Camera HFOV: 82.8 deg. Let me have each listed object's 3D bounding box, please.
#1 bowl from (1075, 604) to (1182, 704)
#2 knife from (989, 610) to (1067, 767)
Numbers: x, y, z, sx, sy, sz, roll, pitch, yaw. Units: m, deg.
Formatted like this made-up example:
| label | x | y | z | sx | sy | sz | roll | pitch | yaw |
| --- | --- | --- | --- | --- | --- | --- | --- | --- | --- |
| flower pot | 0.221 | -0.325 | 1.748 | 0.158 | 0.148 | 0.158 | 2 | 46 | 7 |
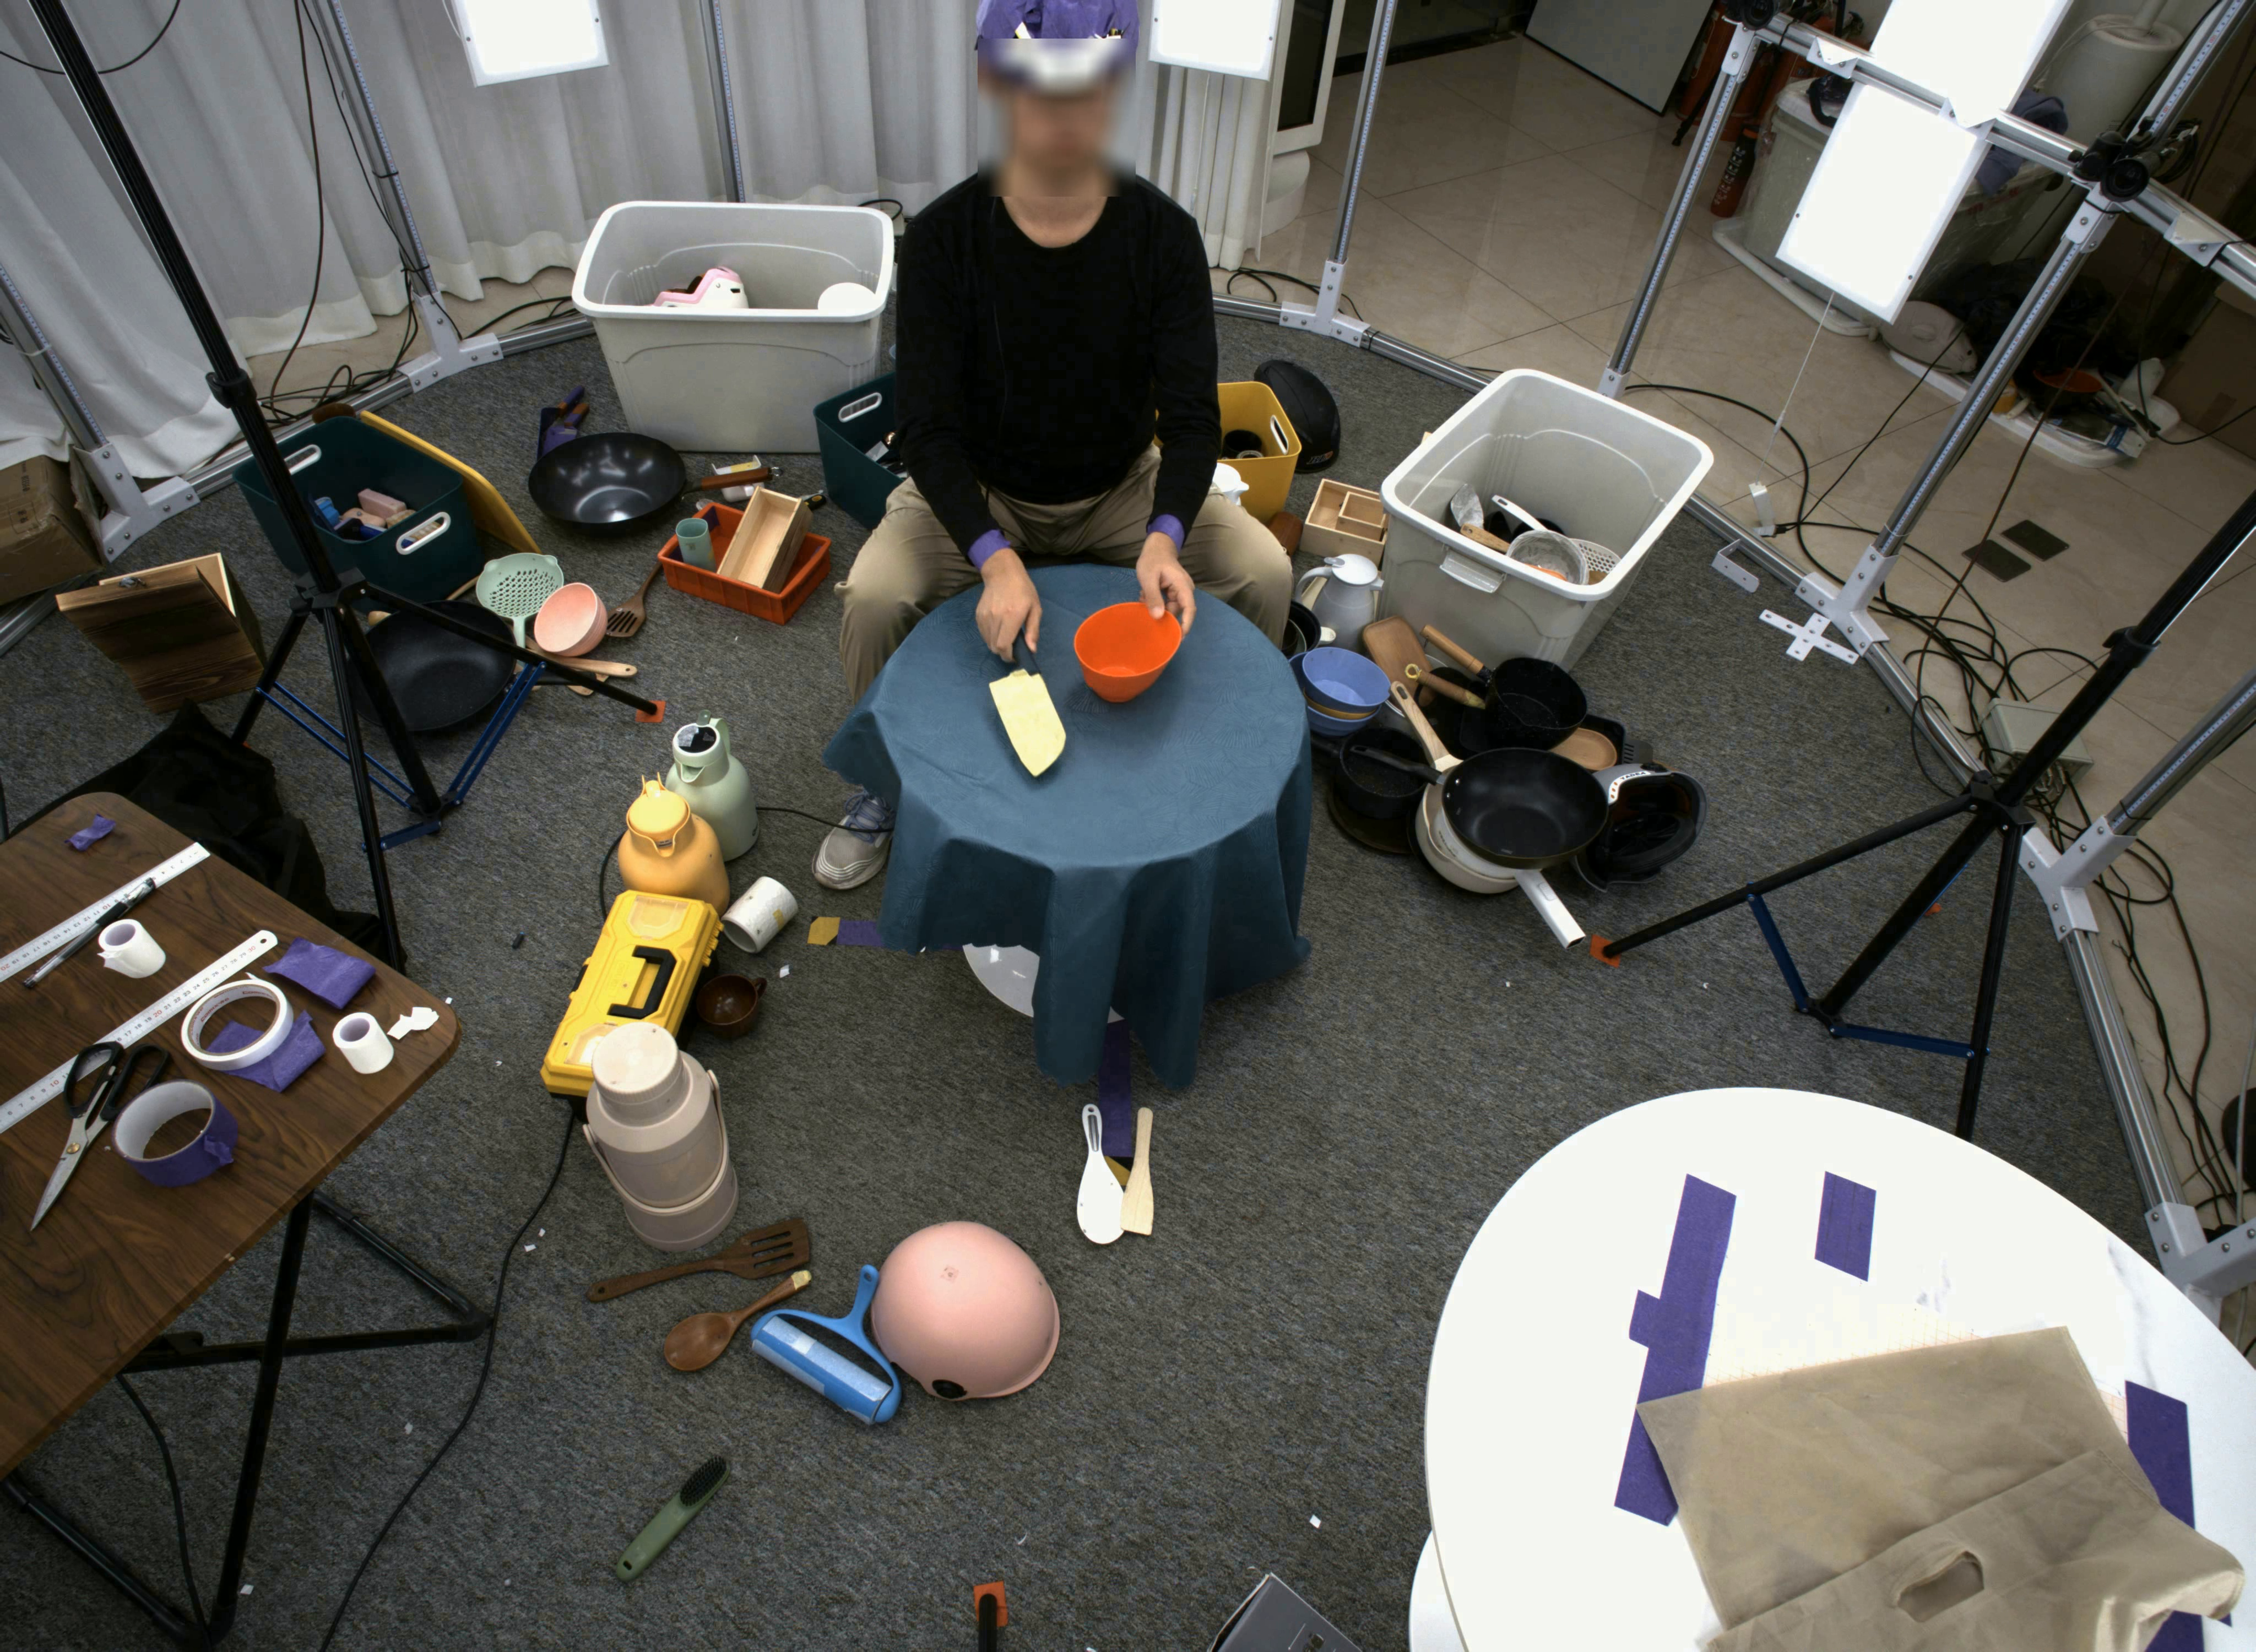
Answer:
| label | x | y | z | sx | sy | sz | roll | pitch | yaw |
| --- | --- | --- | --- | --- | --- | --- | --- | --- | --- |
| bowl | -0.001 | -0.232 | 1.805 | 0.148 | 0.102 | 0.152 | 1 | 50 | -2 |
| knife | -0.150 | -0.193 | 1.779 | 0.081 | 0.026 | 0.296 | -18 | 55 | -4 |
